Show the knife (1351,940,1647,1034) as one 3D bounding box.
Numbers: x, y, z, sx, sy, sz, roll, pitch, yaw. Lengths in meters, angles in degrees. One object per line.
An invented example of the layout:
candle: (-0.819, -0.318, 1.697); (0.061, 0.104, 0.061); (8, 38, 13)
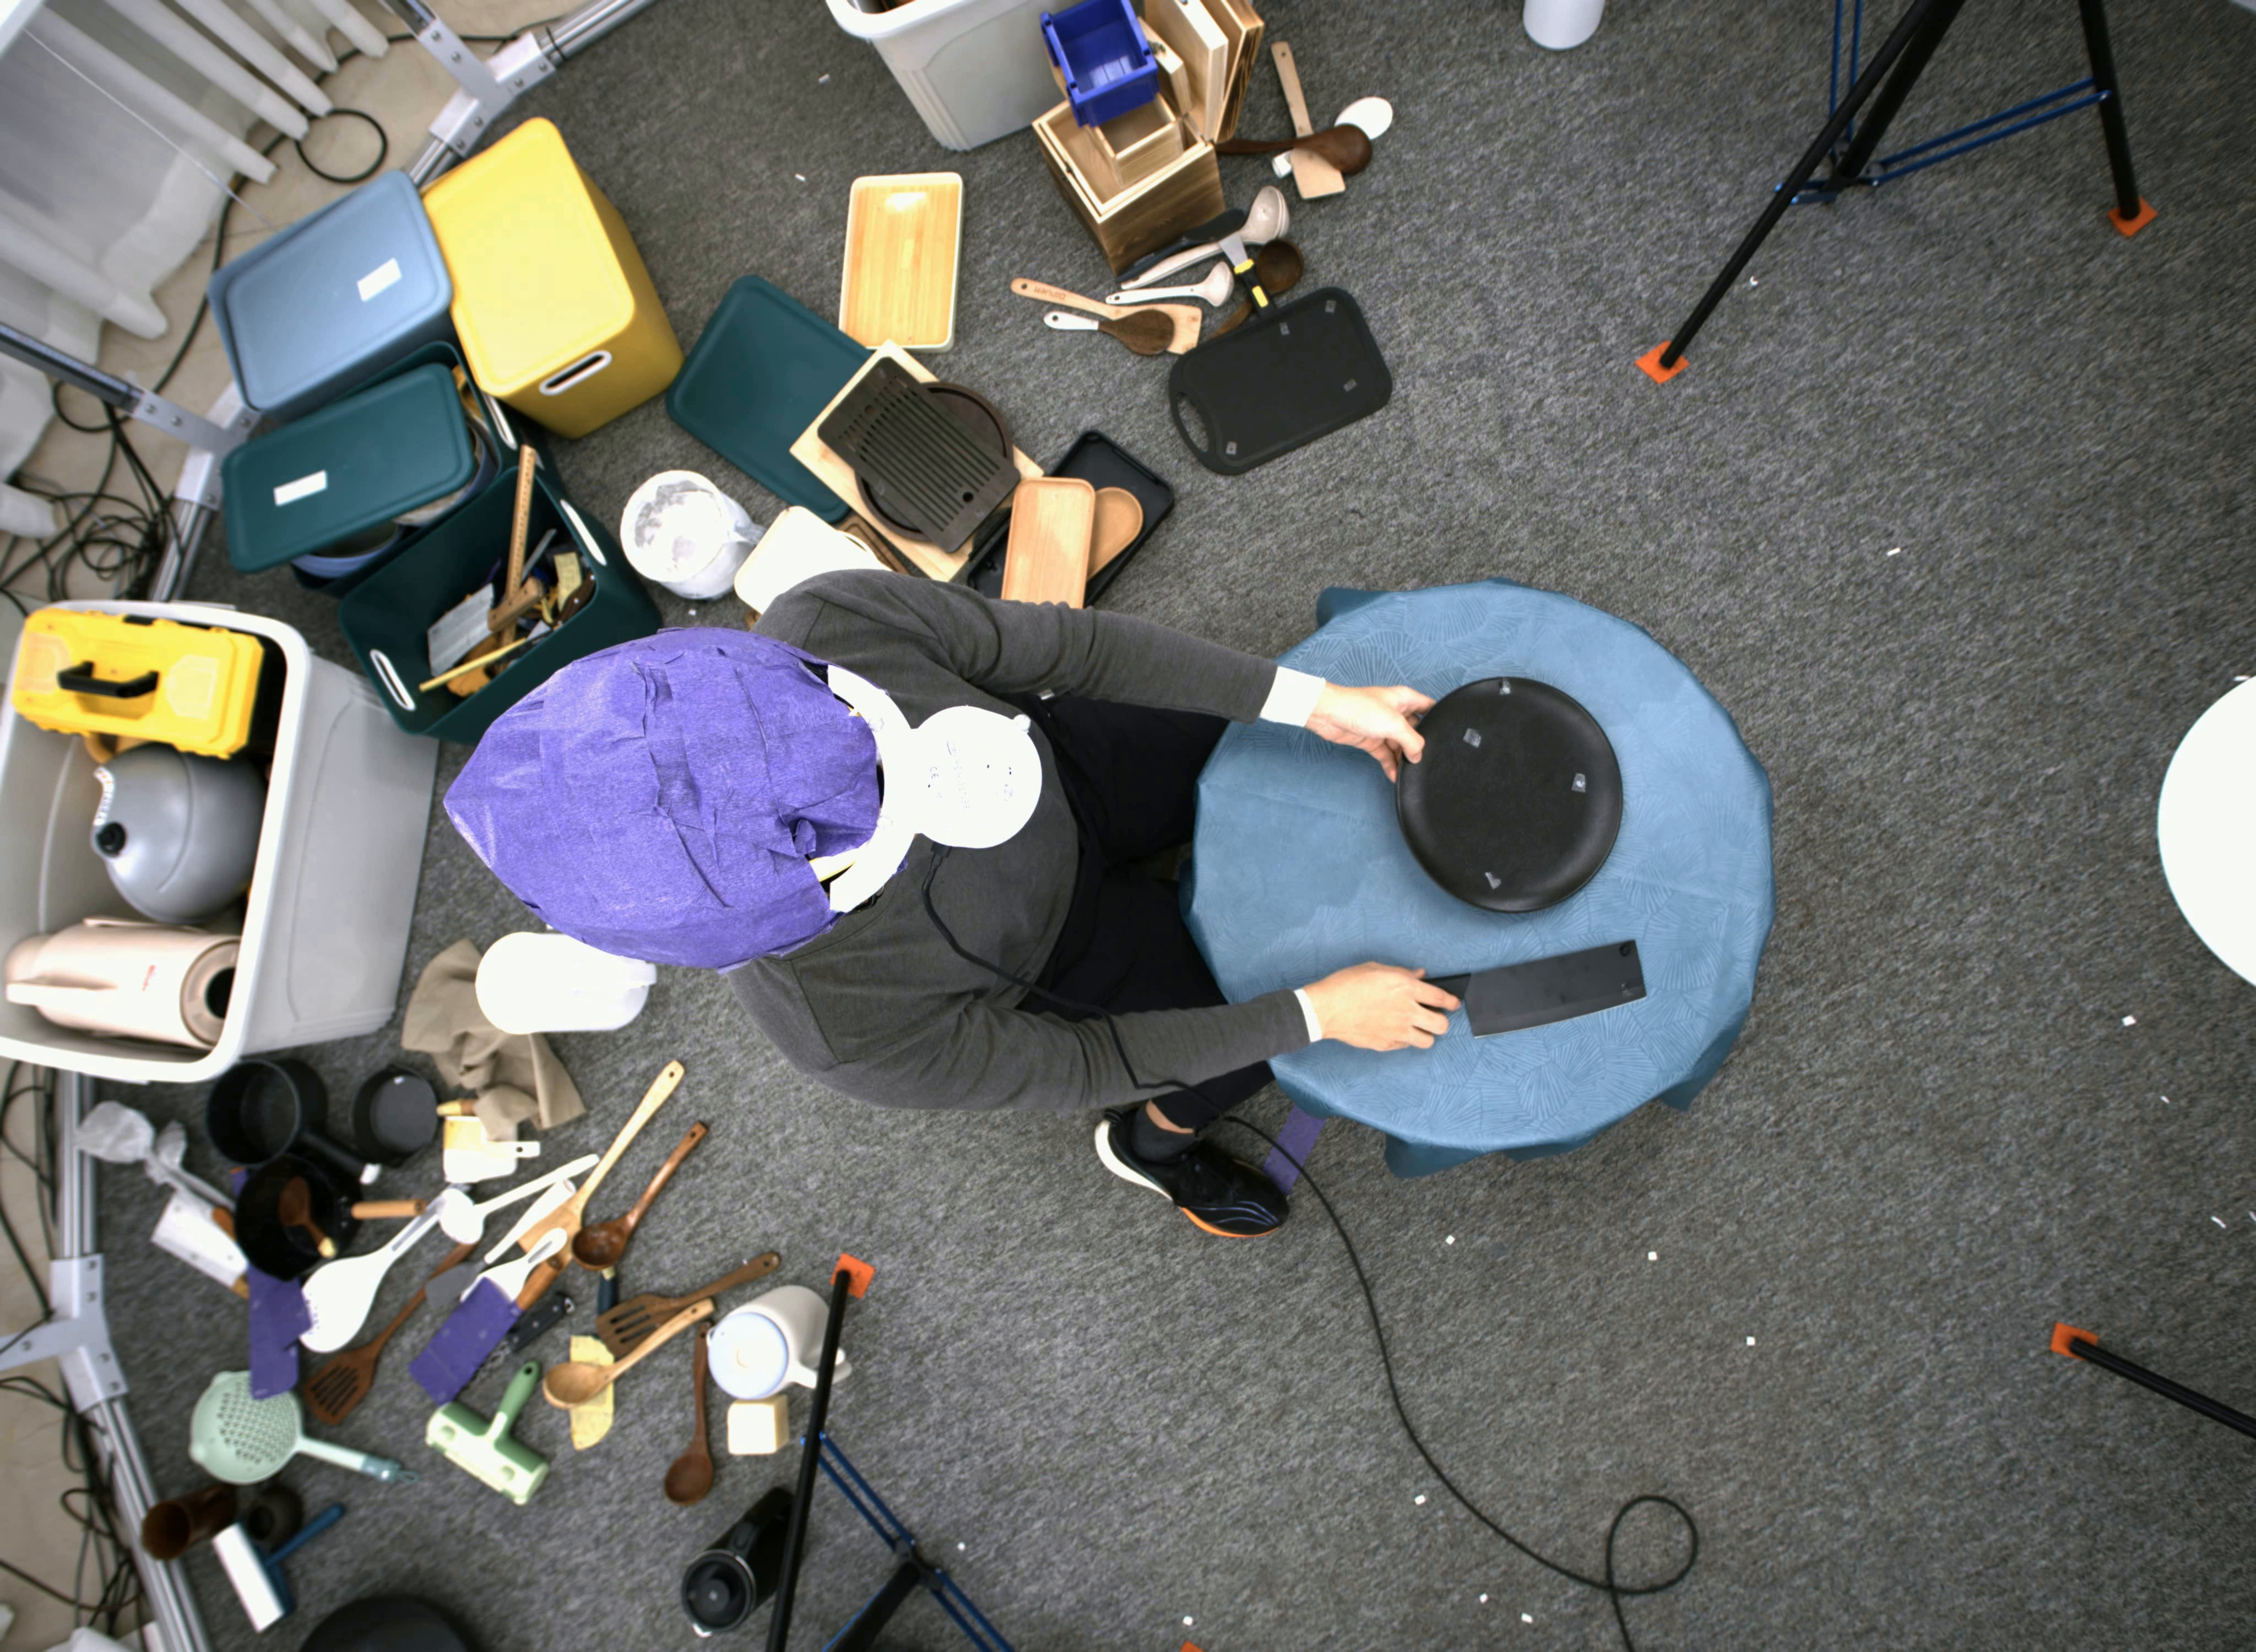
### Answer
knife: (0.381, 0.173, 1.427); (0.304, 0.021, 0.081); (-8, 89, 9)

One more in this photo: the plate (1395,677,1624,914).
plate: (0.389, -0.033, 1.407); (0.244, 0.023, 0.244); (0, 90, -5)
